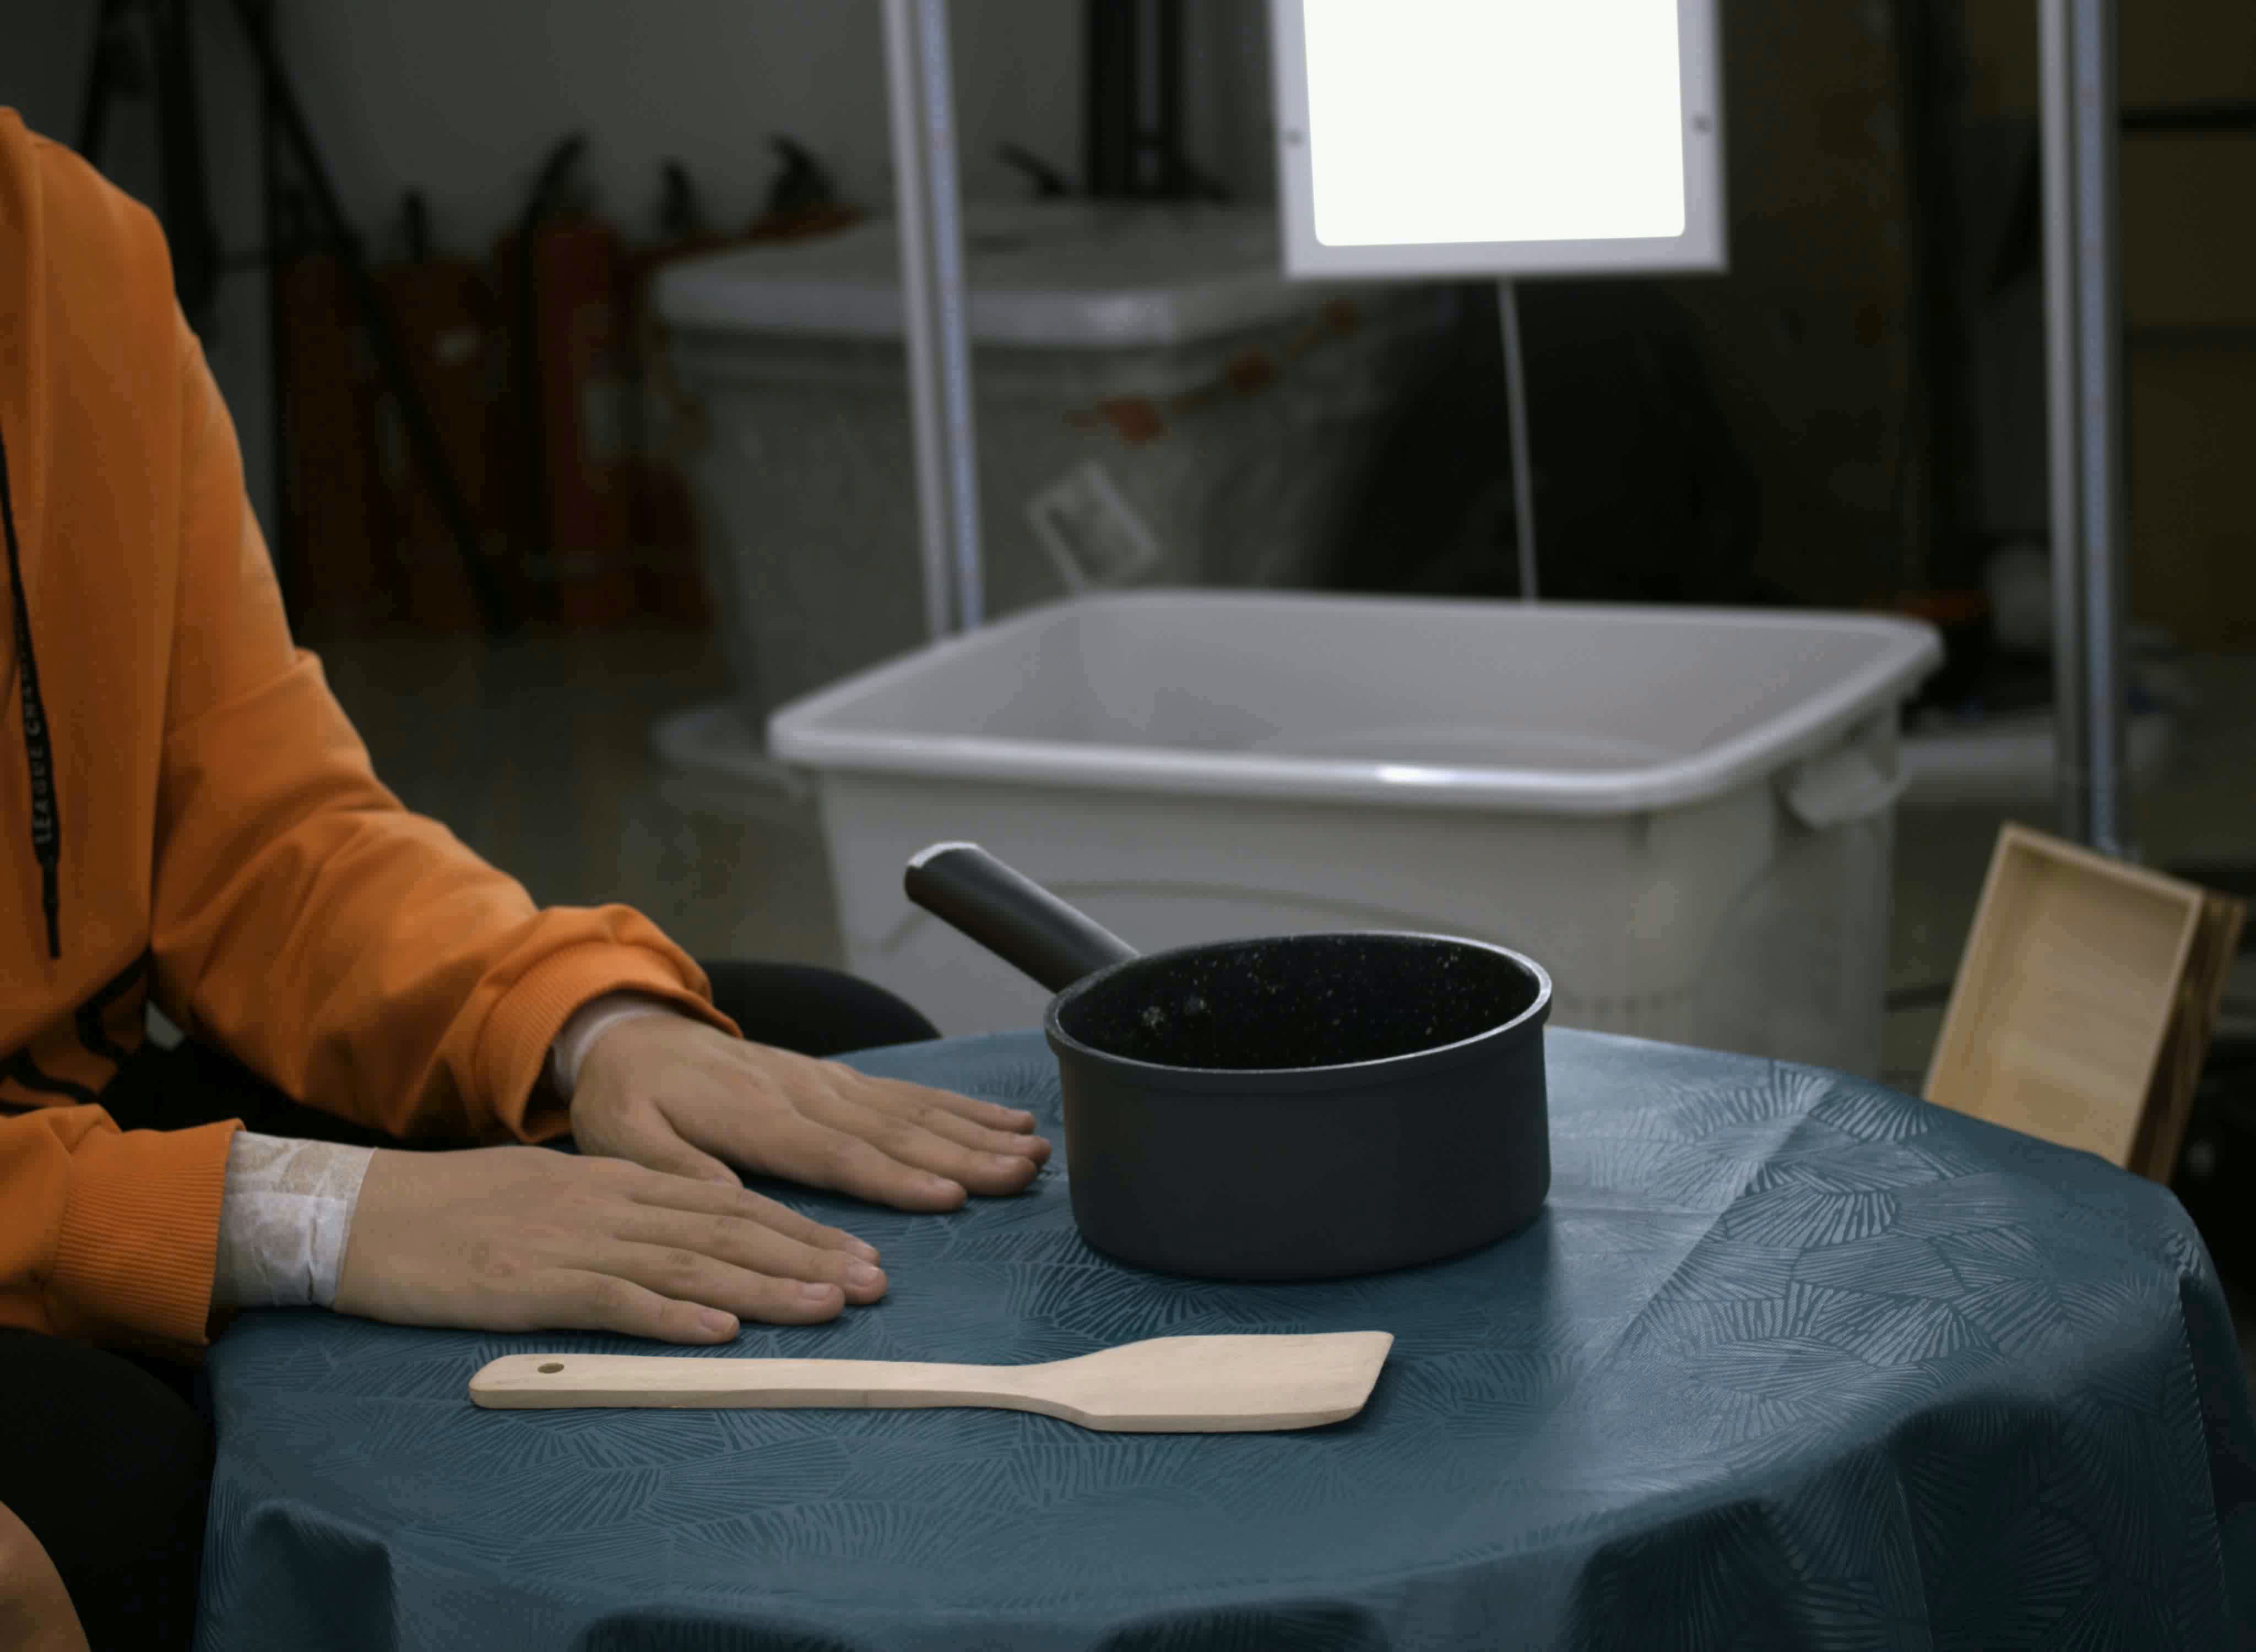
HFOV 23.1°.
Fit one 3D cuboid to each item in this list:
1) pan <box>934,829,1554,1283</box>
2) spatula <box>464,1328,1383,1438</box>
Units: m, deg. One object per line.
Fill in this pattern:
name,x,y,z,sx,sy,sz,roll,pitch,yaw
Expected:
pan,0.020,0.076,1.919,0.168,0.087,0.334,-11,17,-26
spatula,-0.068,0.173,1.715,0.296,0.011,0.071,-1,18,16
